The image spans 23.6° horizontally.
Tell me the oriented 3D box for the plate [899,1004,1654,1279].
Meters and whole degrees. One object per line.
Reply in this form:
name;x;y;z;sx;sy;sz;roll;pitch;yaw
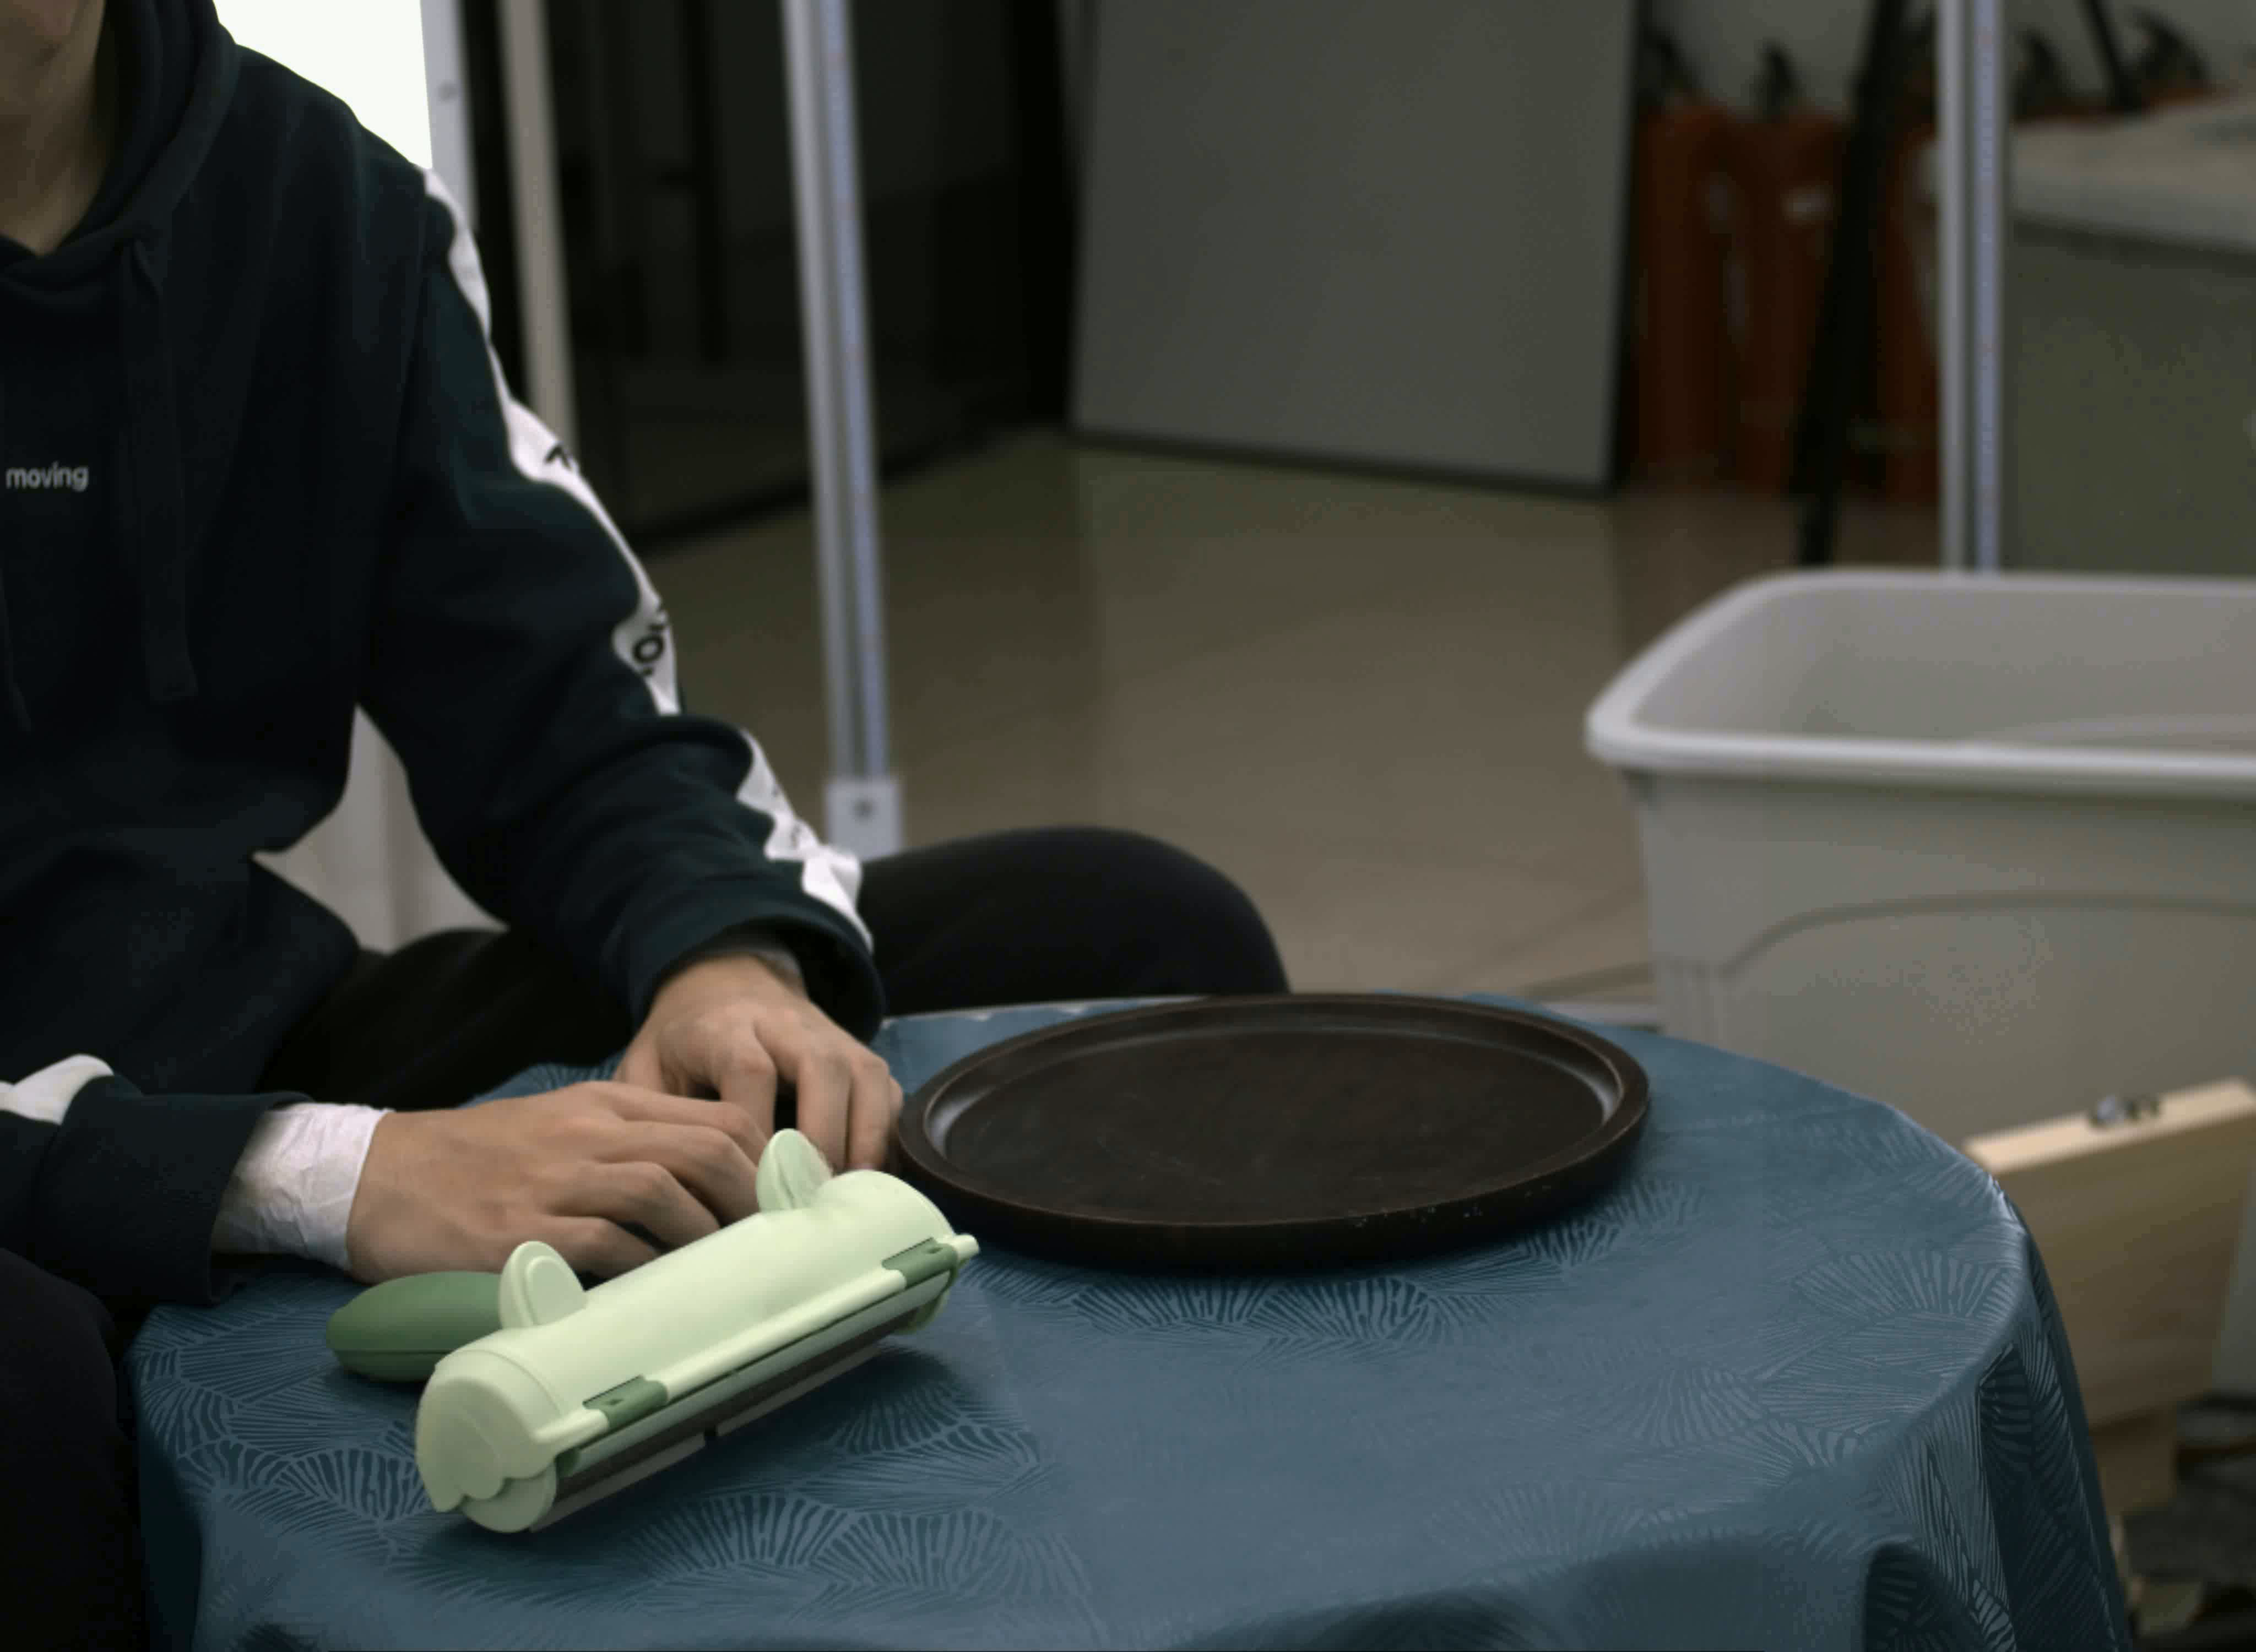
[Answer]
plate;0.050;0.102;1.787;0.251;0.029;0.255;-4;15;0

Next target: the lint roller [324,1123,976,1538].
lint roller;-0.170;0.135;1.595;0.184;0.083;0.195;10;20;35
